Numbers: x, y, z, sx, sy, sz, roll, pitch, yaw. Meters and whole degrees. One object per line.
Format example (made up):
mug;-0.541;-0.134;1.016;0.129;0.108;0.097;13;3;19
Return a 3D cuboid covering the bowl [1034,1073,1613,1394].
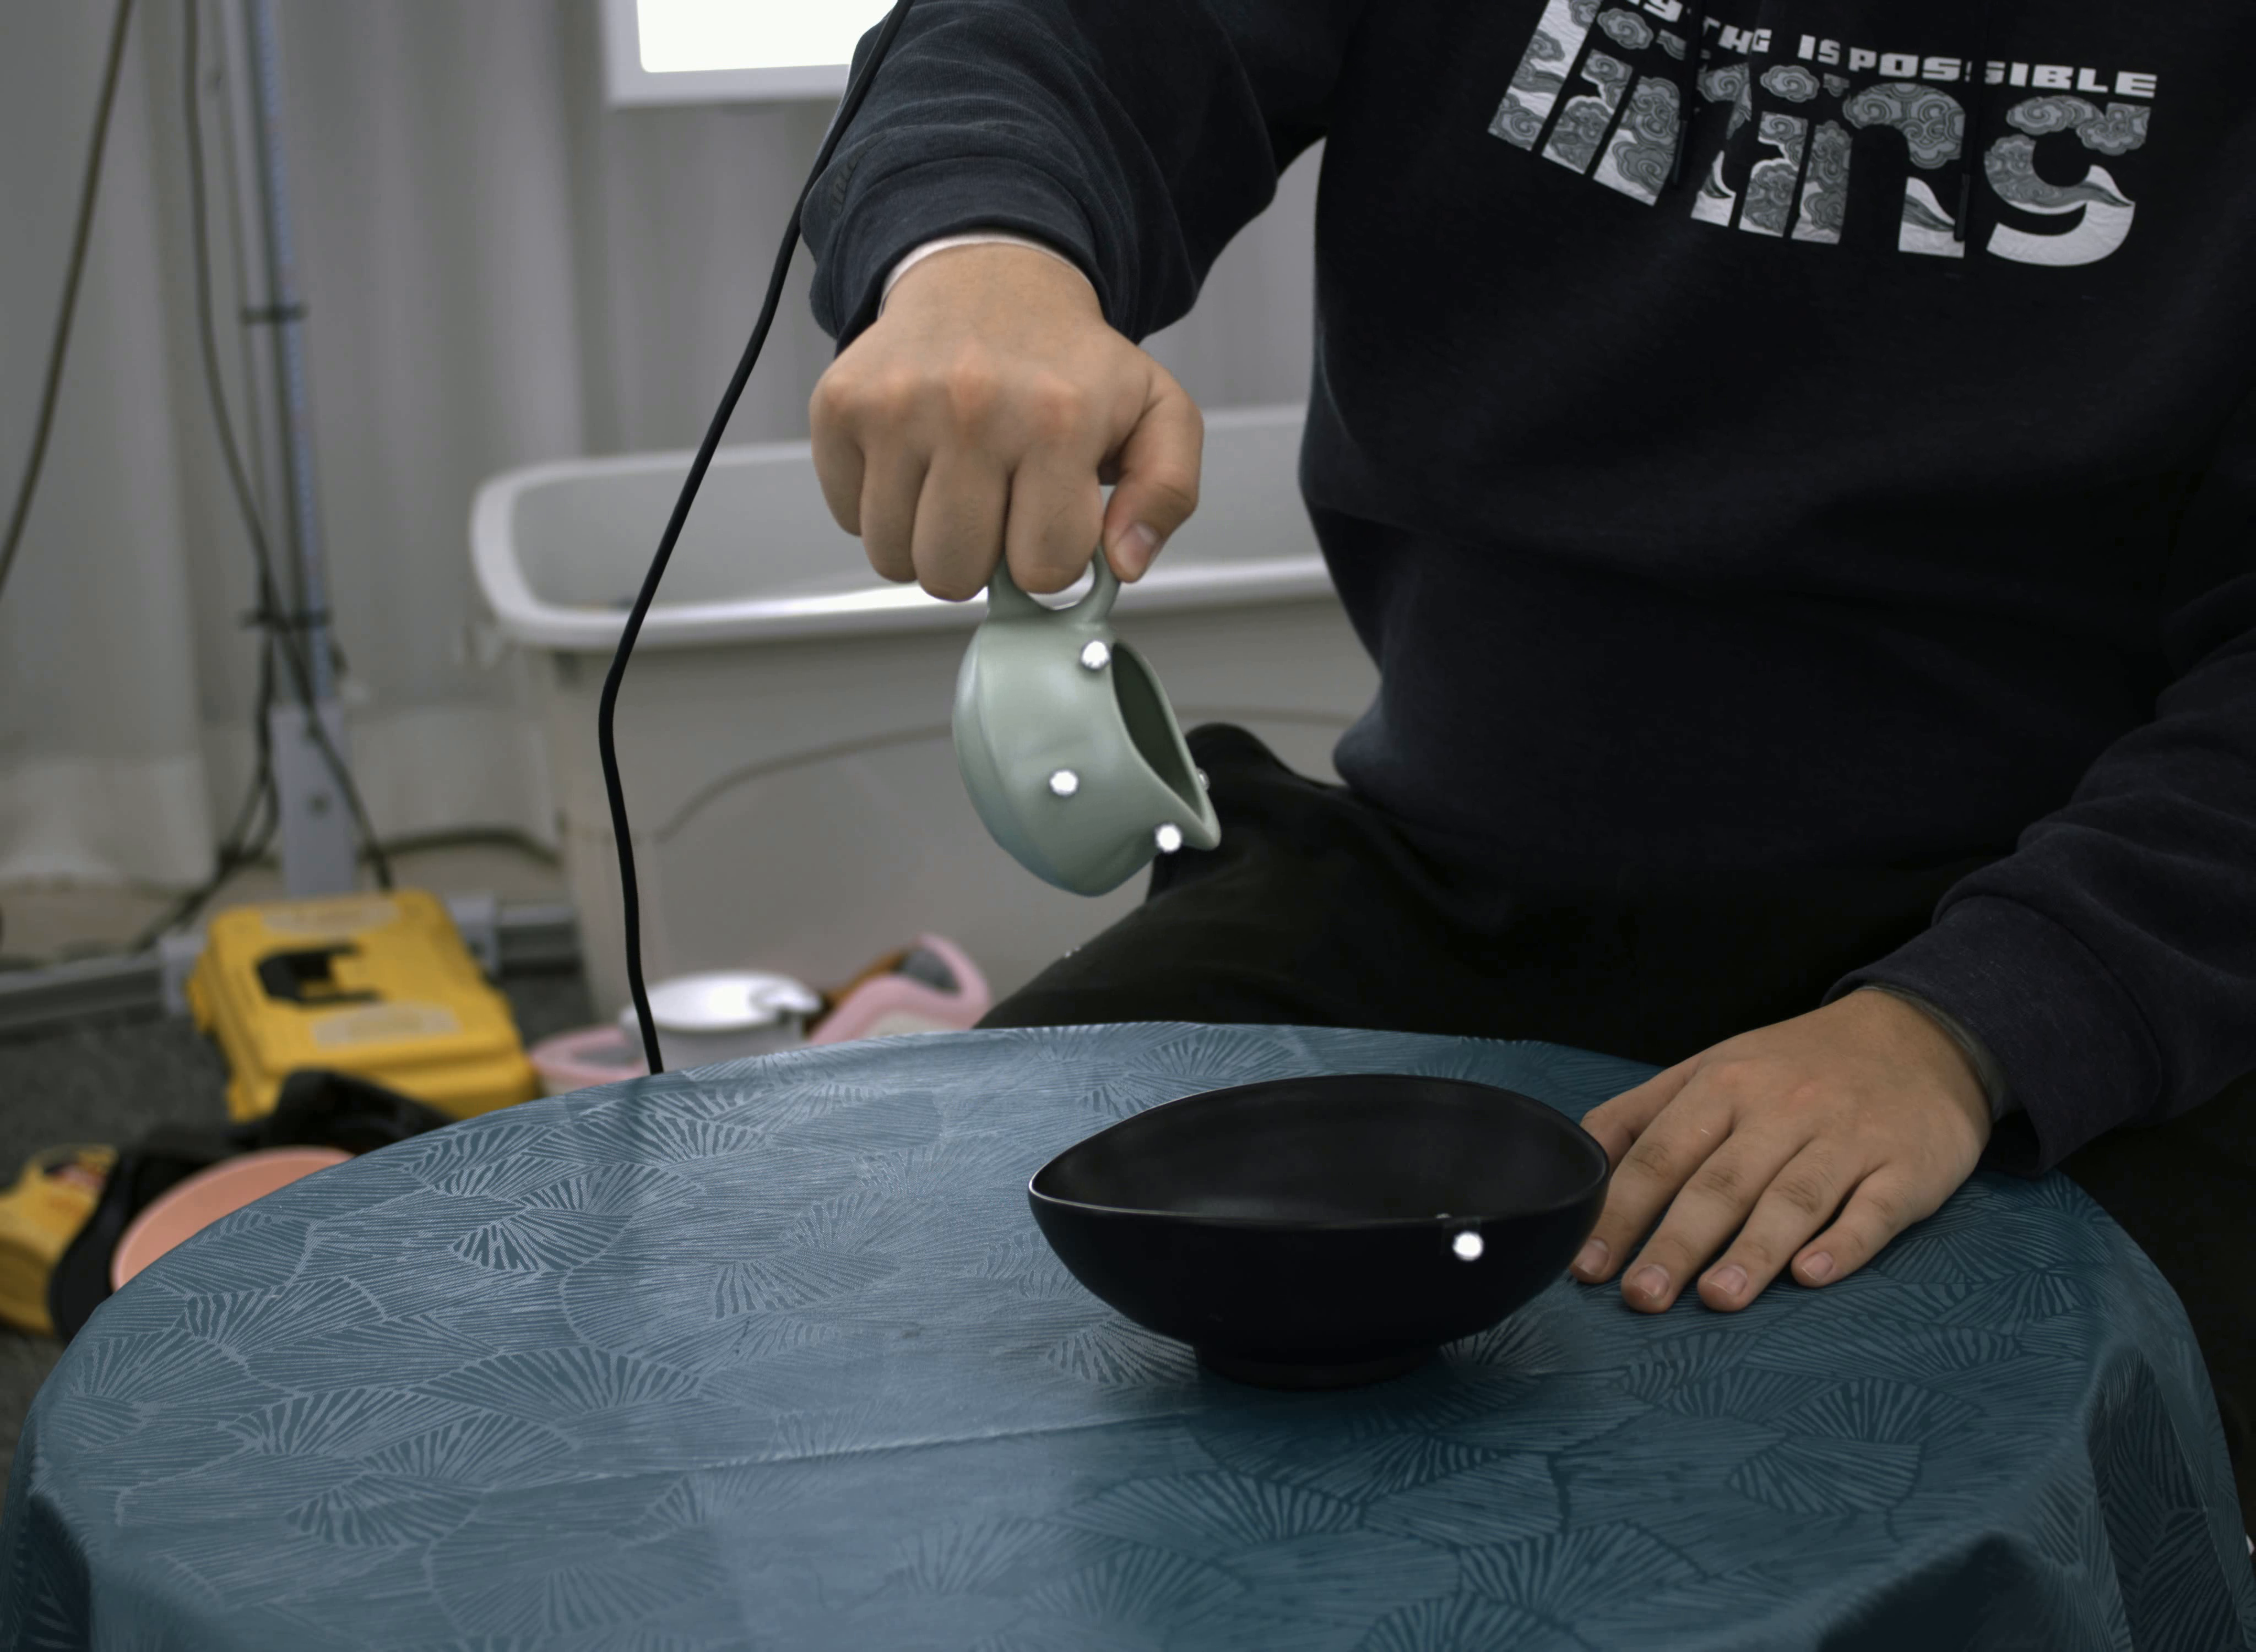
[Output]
bowl;0.055;0.121;1.562;0.170;0.066;0.138;1;14;17

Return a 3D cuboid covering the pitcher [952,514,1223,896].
pitcher;-0.018;-0.034;1.539;0.060;0.108;0.086;-21;6;16
